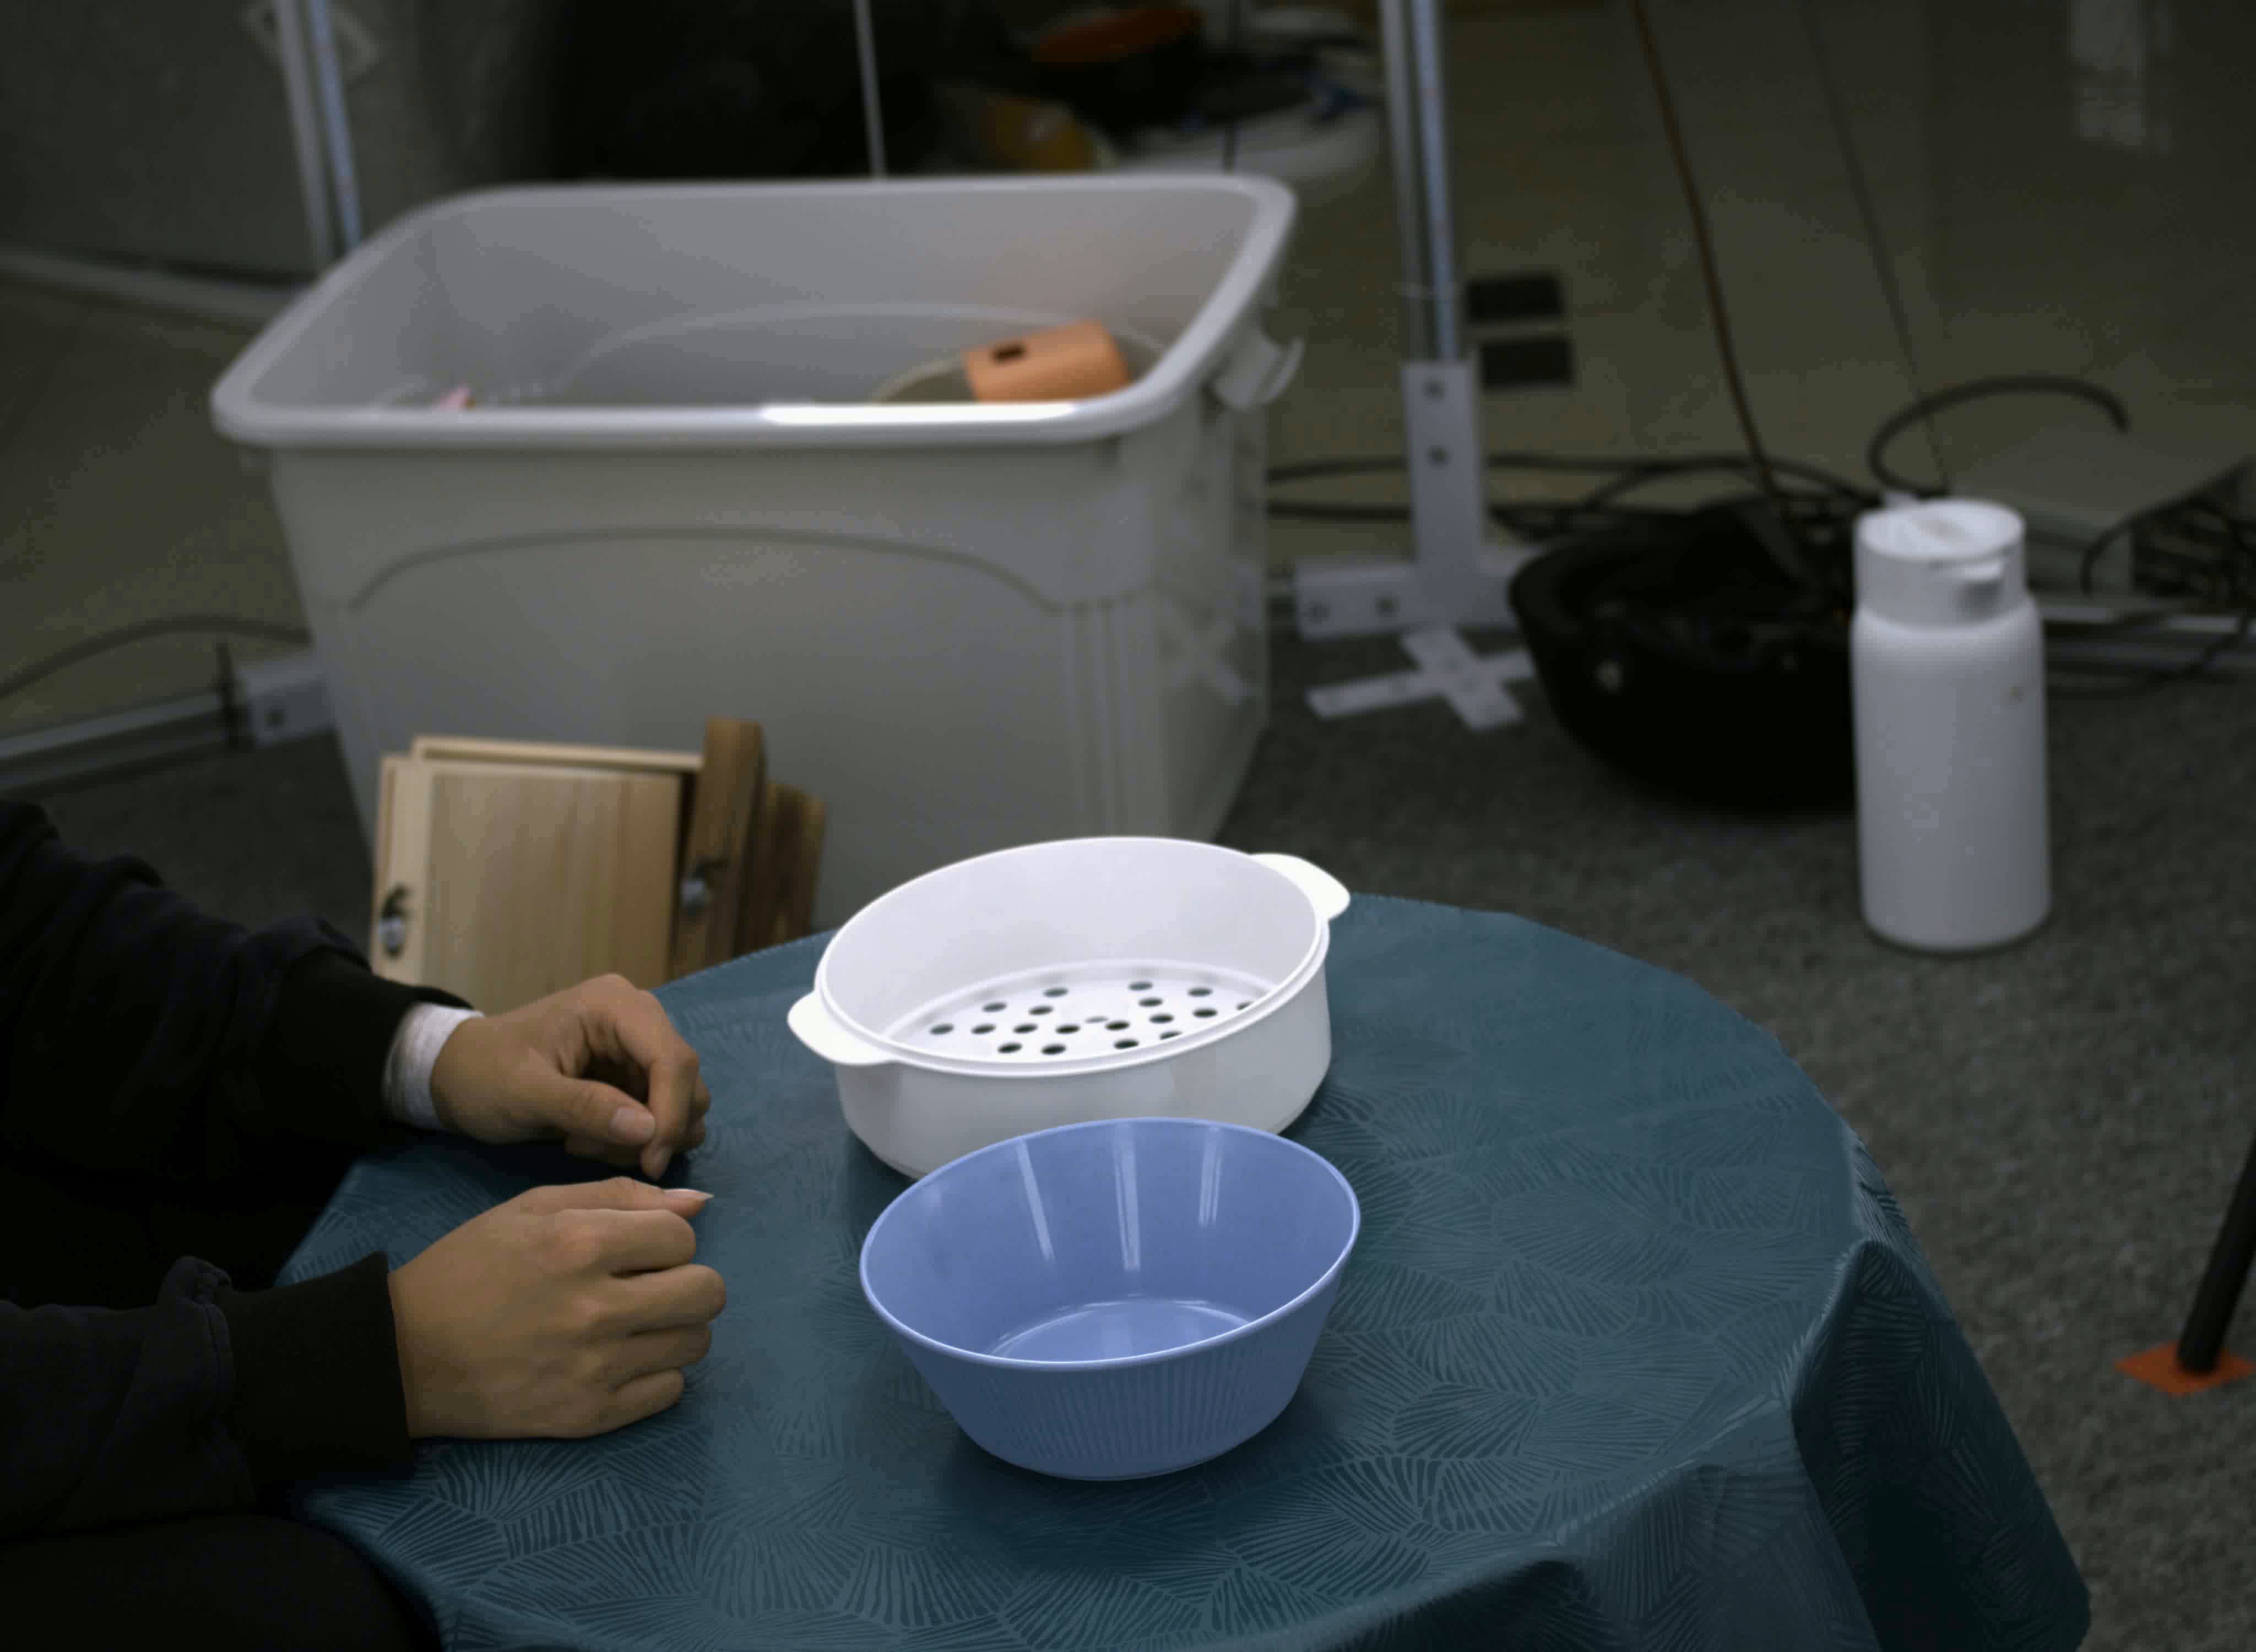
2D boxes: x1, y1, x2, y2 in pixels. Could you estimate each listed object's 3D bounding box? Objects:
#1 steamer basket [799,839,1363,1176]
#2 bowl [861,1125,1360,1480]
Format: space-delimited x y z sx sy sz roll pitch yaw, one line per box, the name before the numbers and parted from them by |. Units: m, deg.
steamer basket | -0.015 0.075 2.213 0.229 0.070 0.199 -15 26 -23
bowl | -0.003 0.173 1.995 0.176 0.071 0.173 -5 24 3
